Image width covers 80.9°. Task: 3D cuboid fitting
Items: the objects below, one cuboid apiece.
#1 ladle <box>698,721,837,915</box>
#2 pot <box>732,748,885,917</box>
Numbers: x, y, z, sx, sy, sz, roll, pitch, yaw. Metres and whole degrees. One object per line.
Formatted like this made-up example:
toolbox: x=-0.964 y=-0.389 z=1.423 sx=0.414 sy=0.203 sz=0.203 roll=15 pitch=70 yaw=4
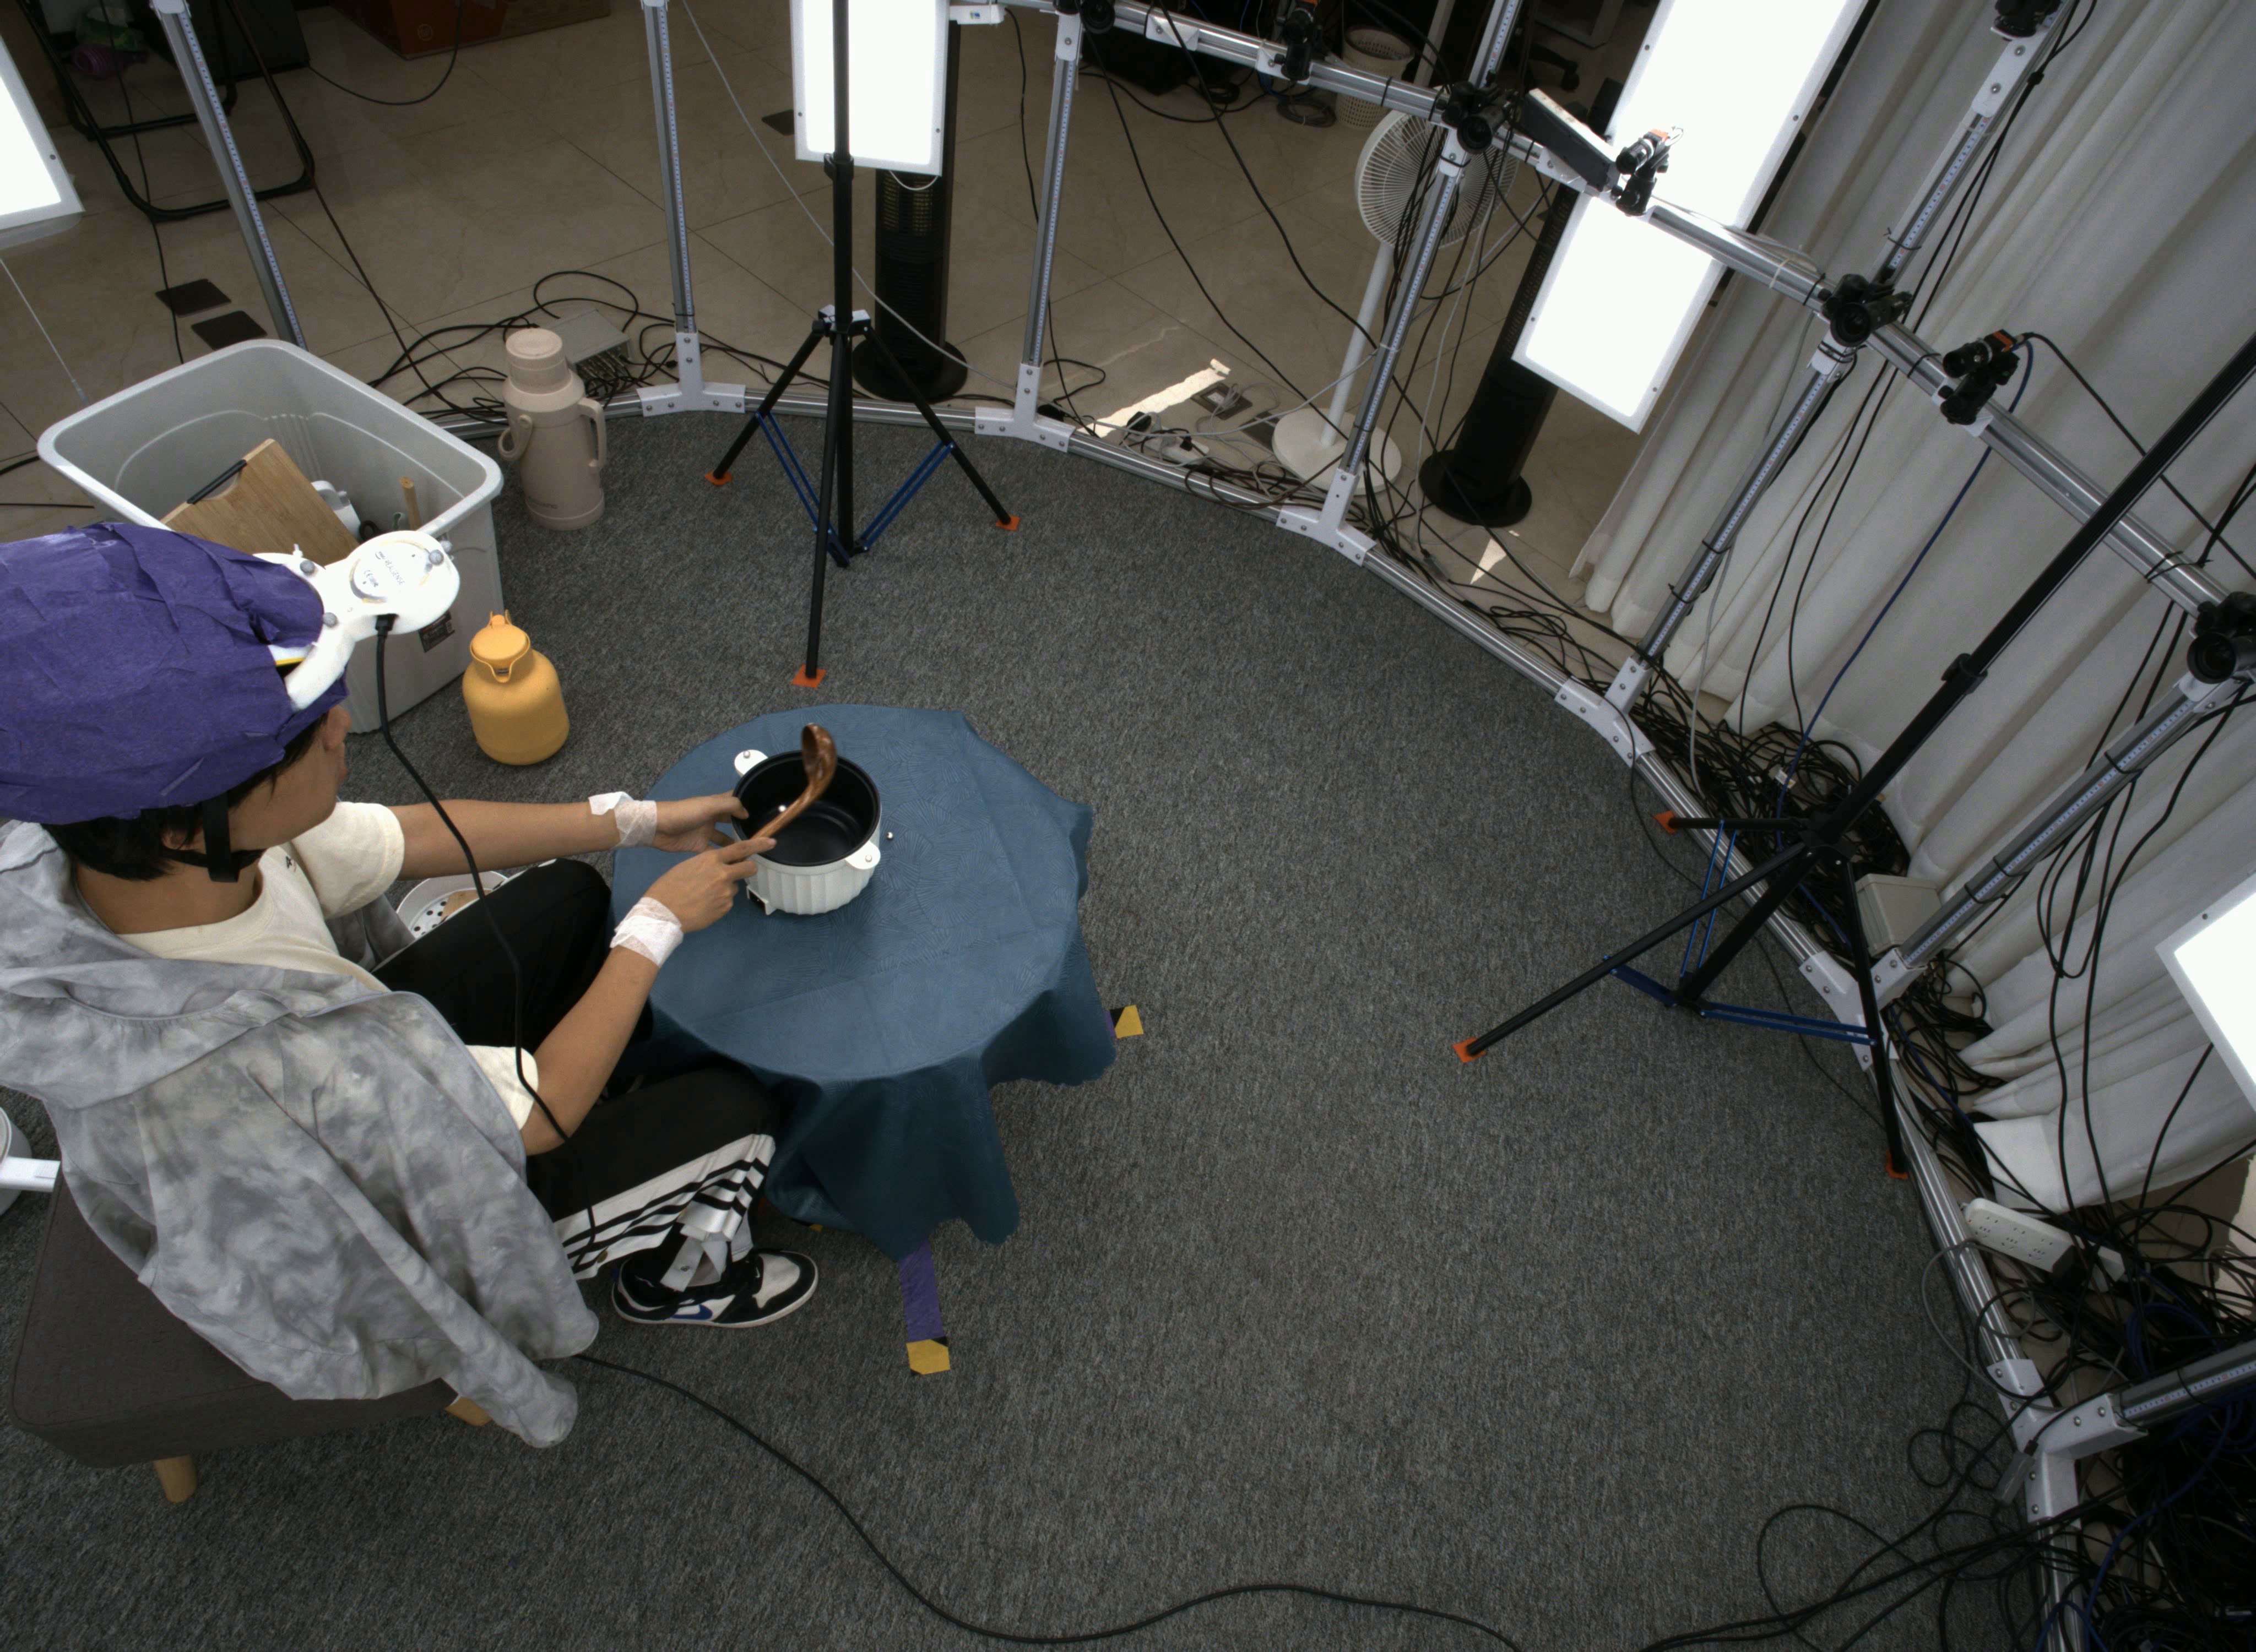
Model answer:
ladle: x=-0.435 y=-0.018 z=1.521 sx=0.076 sy=0.083 sz=0.273 roll=36 pitch=57 yaw=4
pot: x=-0.395 y=0.011 z=1.636 sx=0.236 sy=0.145 sz=0.190 roll=37 pitch=58 yaw=14
